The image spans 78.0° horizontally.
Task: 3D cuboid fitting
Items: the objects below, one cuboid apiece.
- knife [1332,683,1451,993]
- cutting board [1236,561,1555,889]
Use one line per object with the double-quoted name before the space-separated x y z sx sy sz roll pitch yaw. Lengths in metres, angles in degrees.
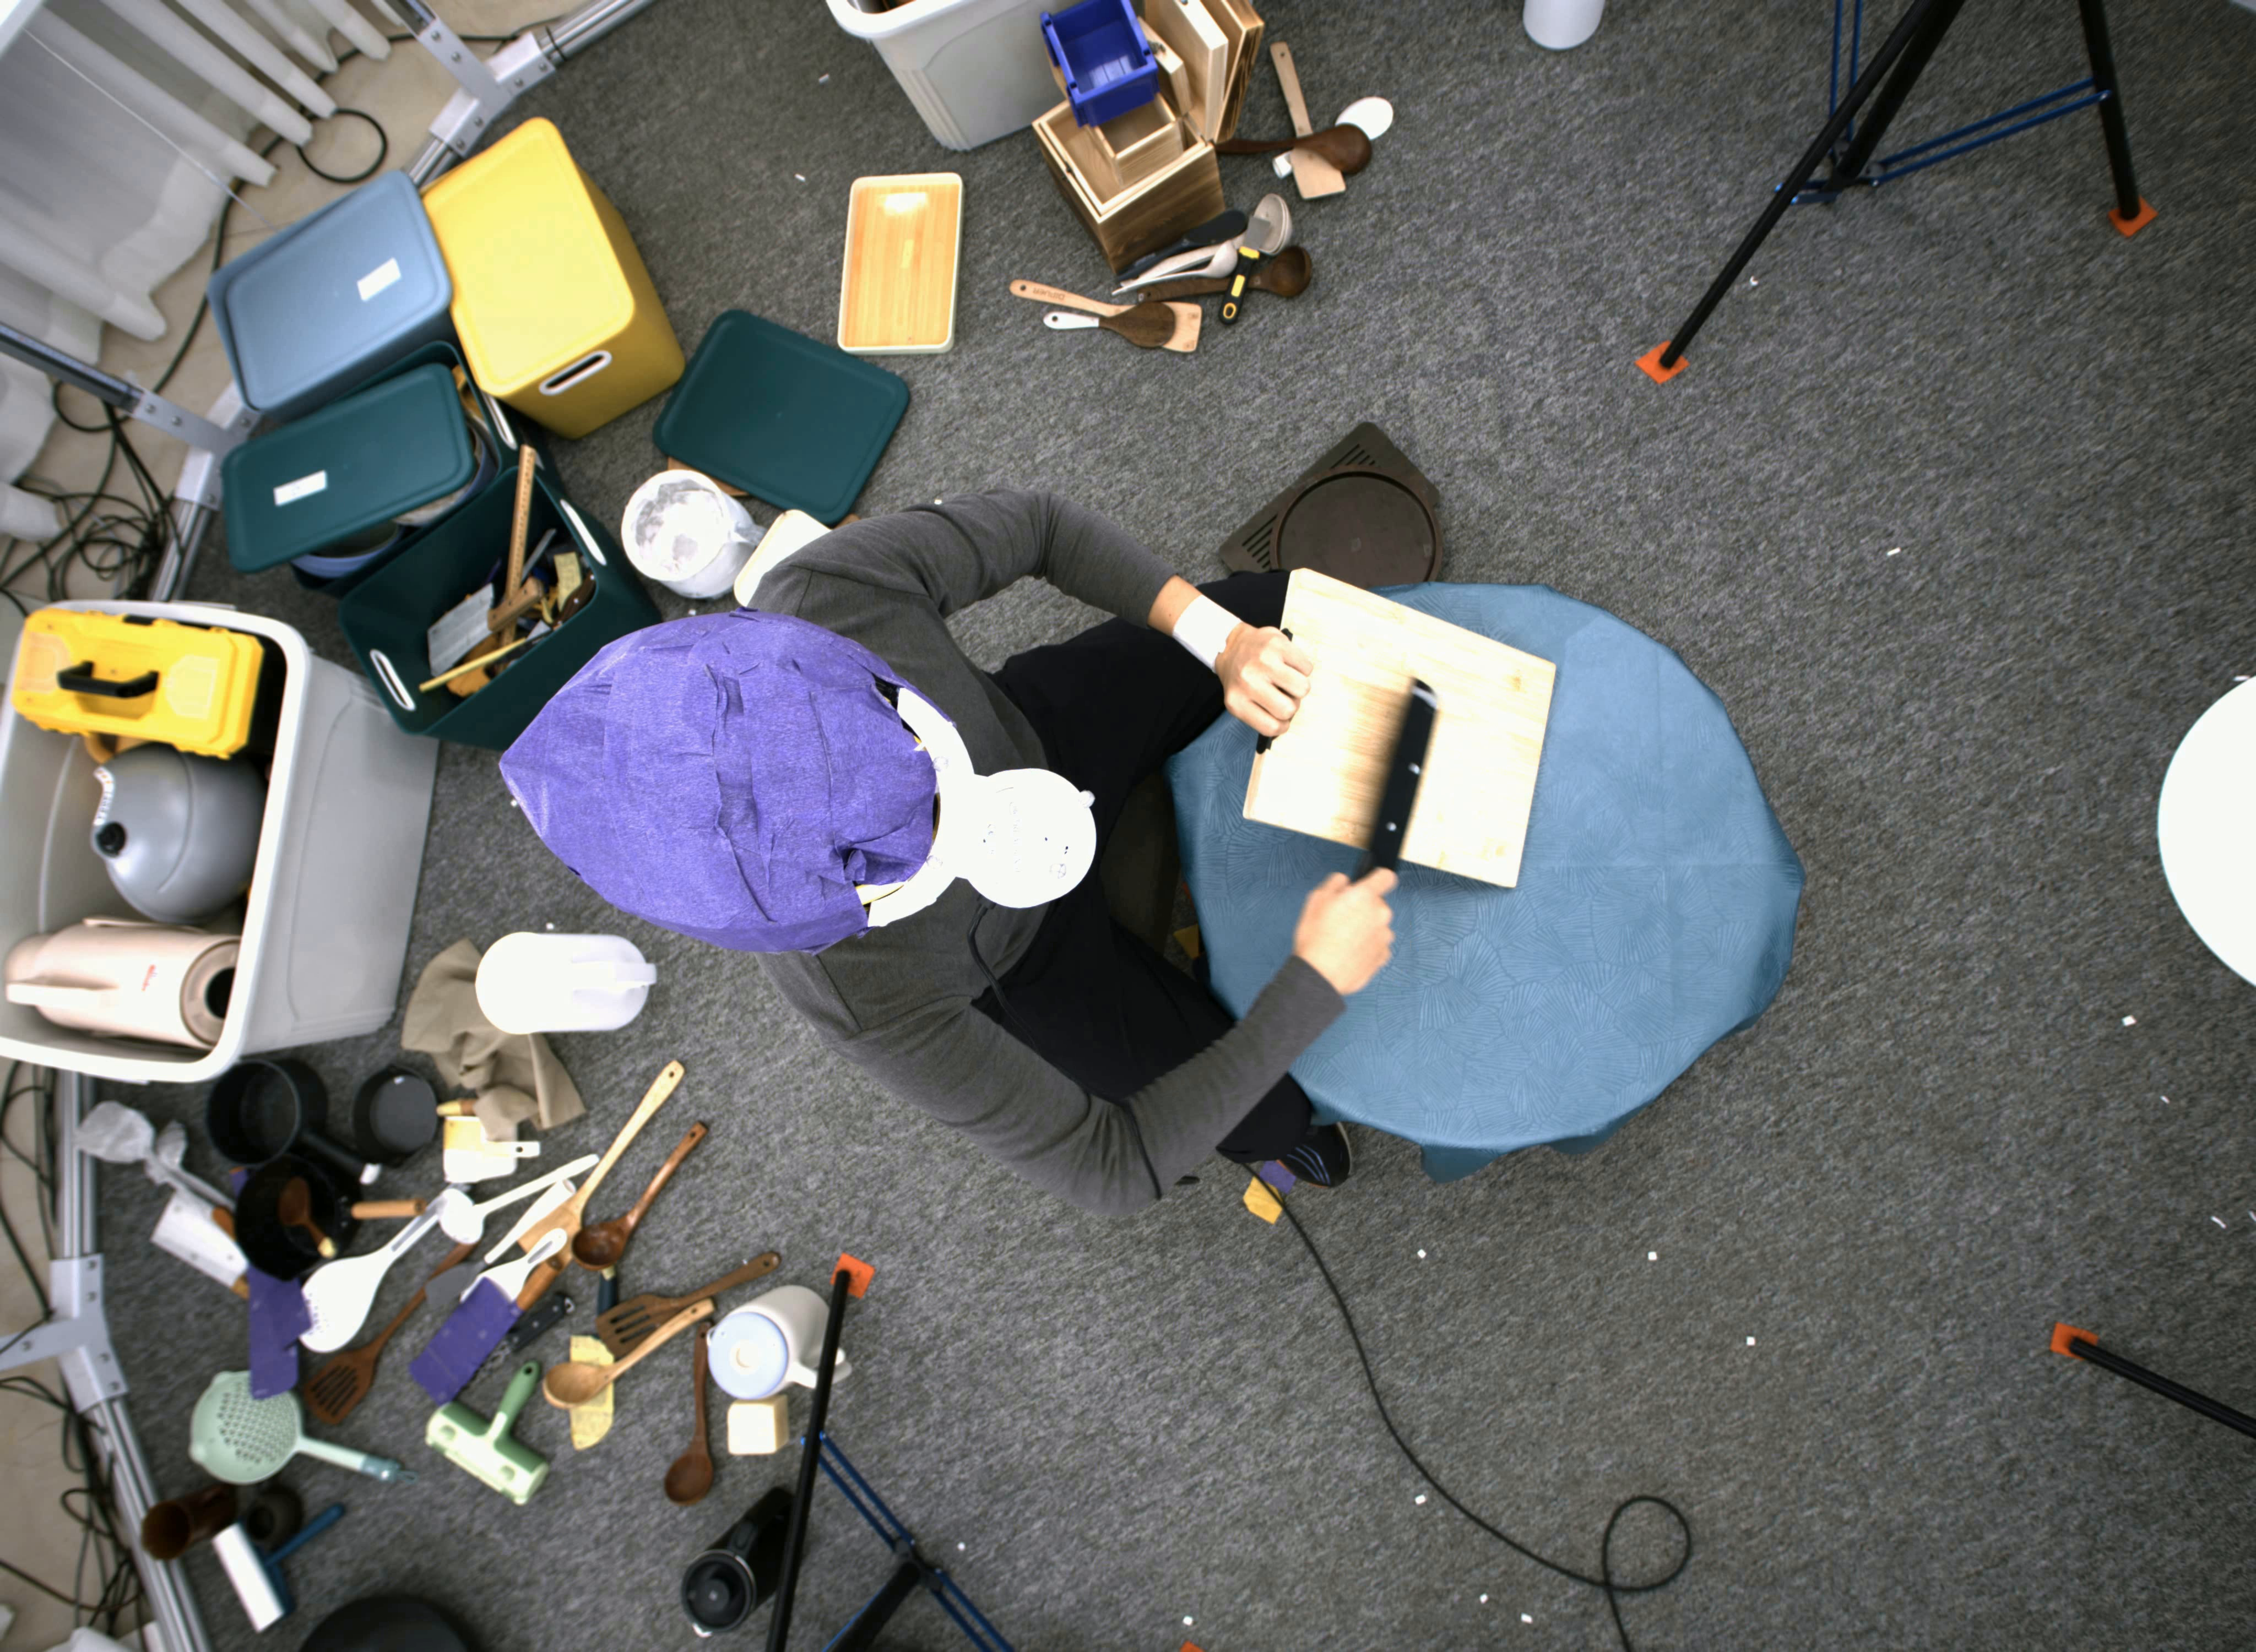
"knife" 0.252 0.011 1.310 0.021 0.081 0.301 17 86 42
"cutting board" 0.271 -0.091 1.349 0.348 0.023 0.250 12 88 -29
